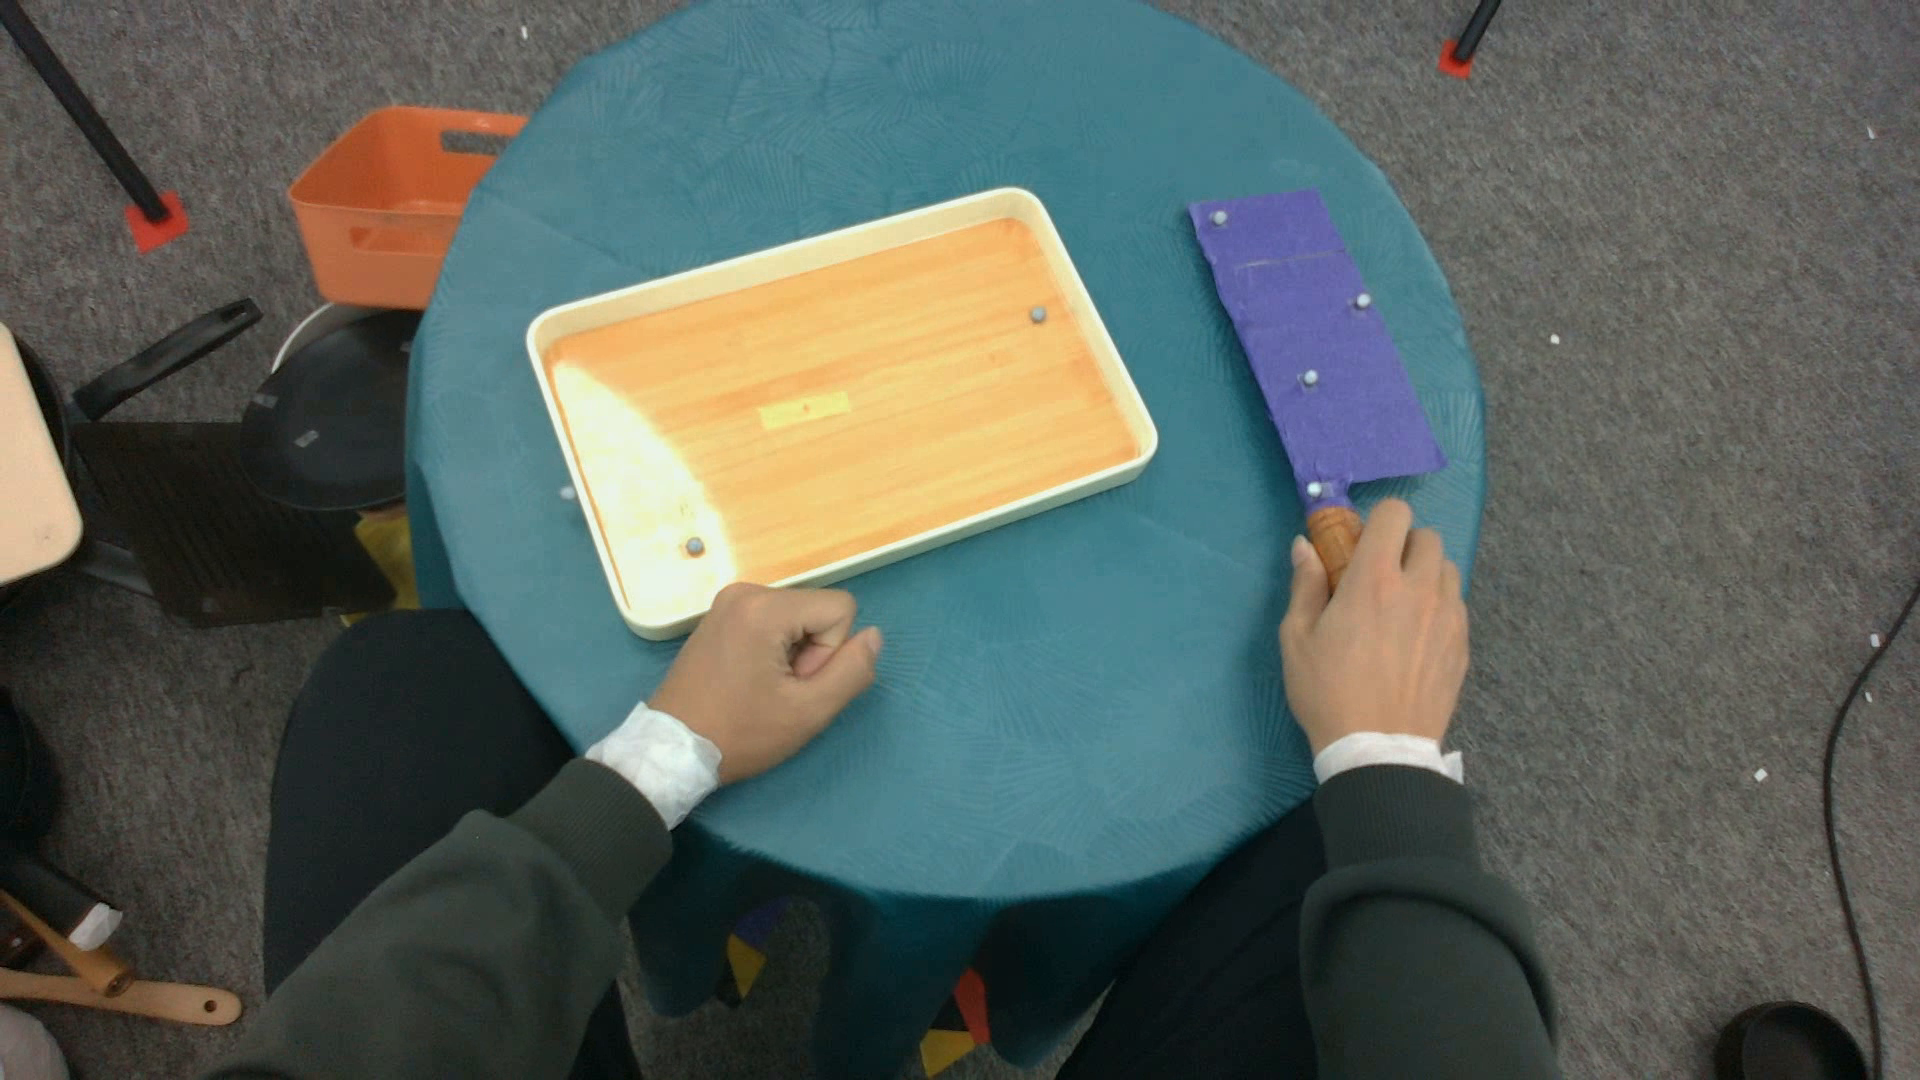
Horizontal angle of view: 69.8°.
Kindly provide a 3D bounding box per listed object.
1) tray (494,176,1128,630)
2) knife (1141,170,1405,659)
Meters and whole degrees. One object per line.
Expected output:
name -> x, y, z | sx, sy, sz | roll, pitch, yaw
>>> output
tray -> -0.077, -0.083, 0.743 | 0.301, 0.027, 0.192 | -19, 71, -16
knife -> 0.197, -0.087, 0.780 | 0.104, 0.032, 0.316 | -9, 66, -15
